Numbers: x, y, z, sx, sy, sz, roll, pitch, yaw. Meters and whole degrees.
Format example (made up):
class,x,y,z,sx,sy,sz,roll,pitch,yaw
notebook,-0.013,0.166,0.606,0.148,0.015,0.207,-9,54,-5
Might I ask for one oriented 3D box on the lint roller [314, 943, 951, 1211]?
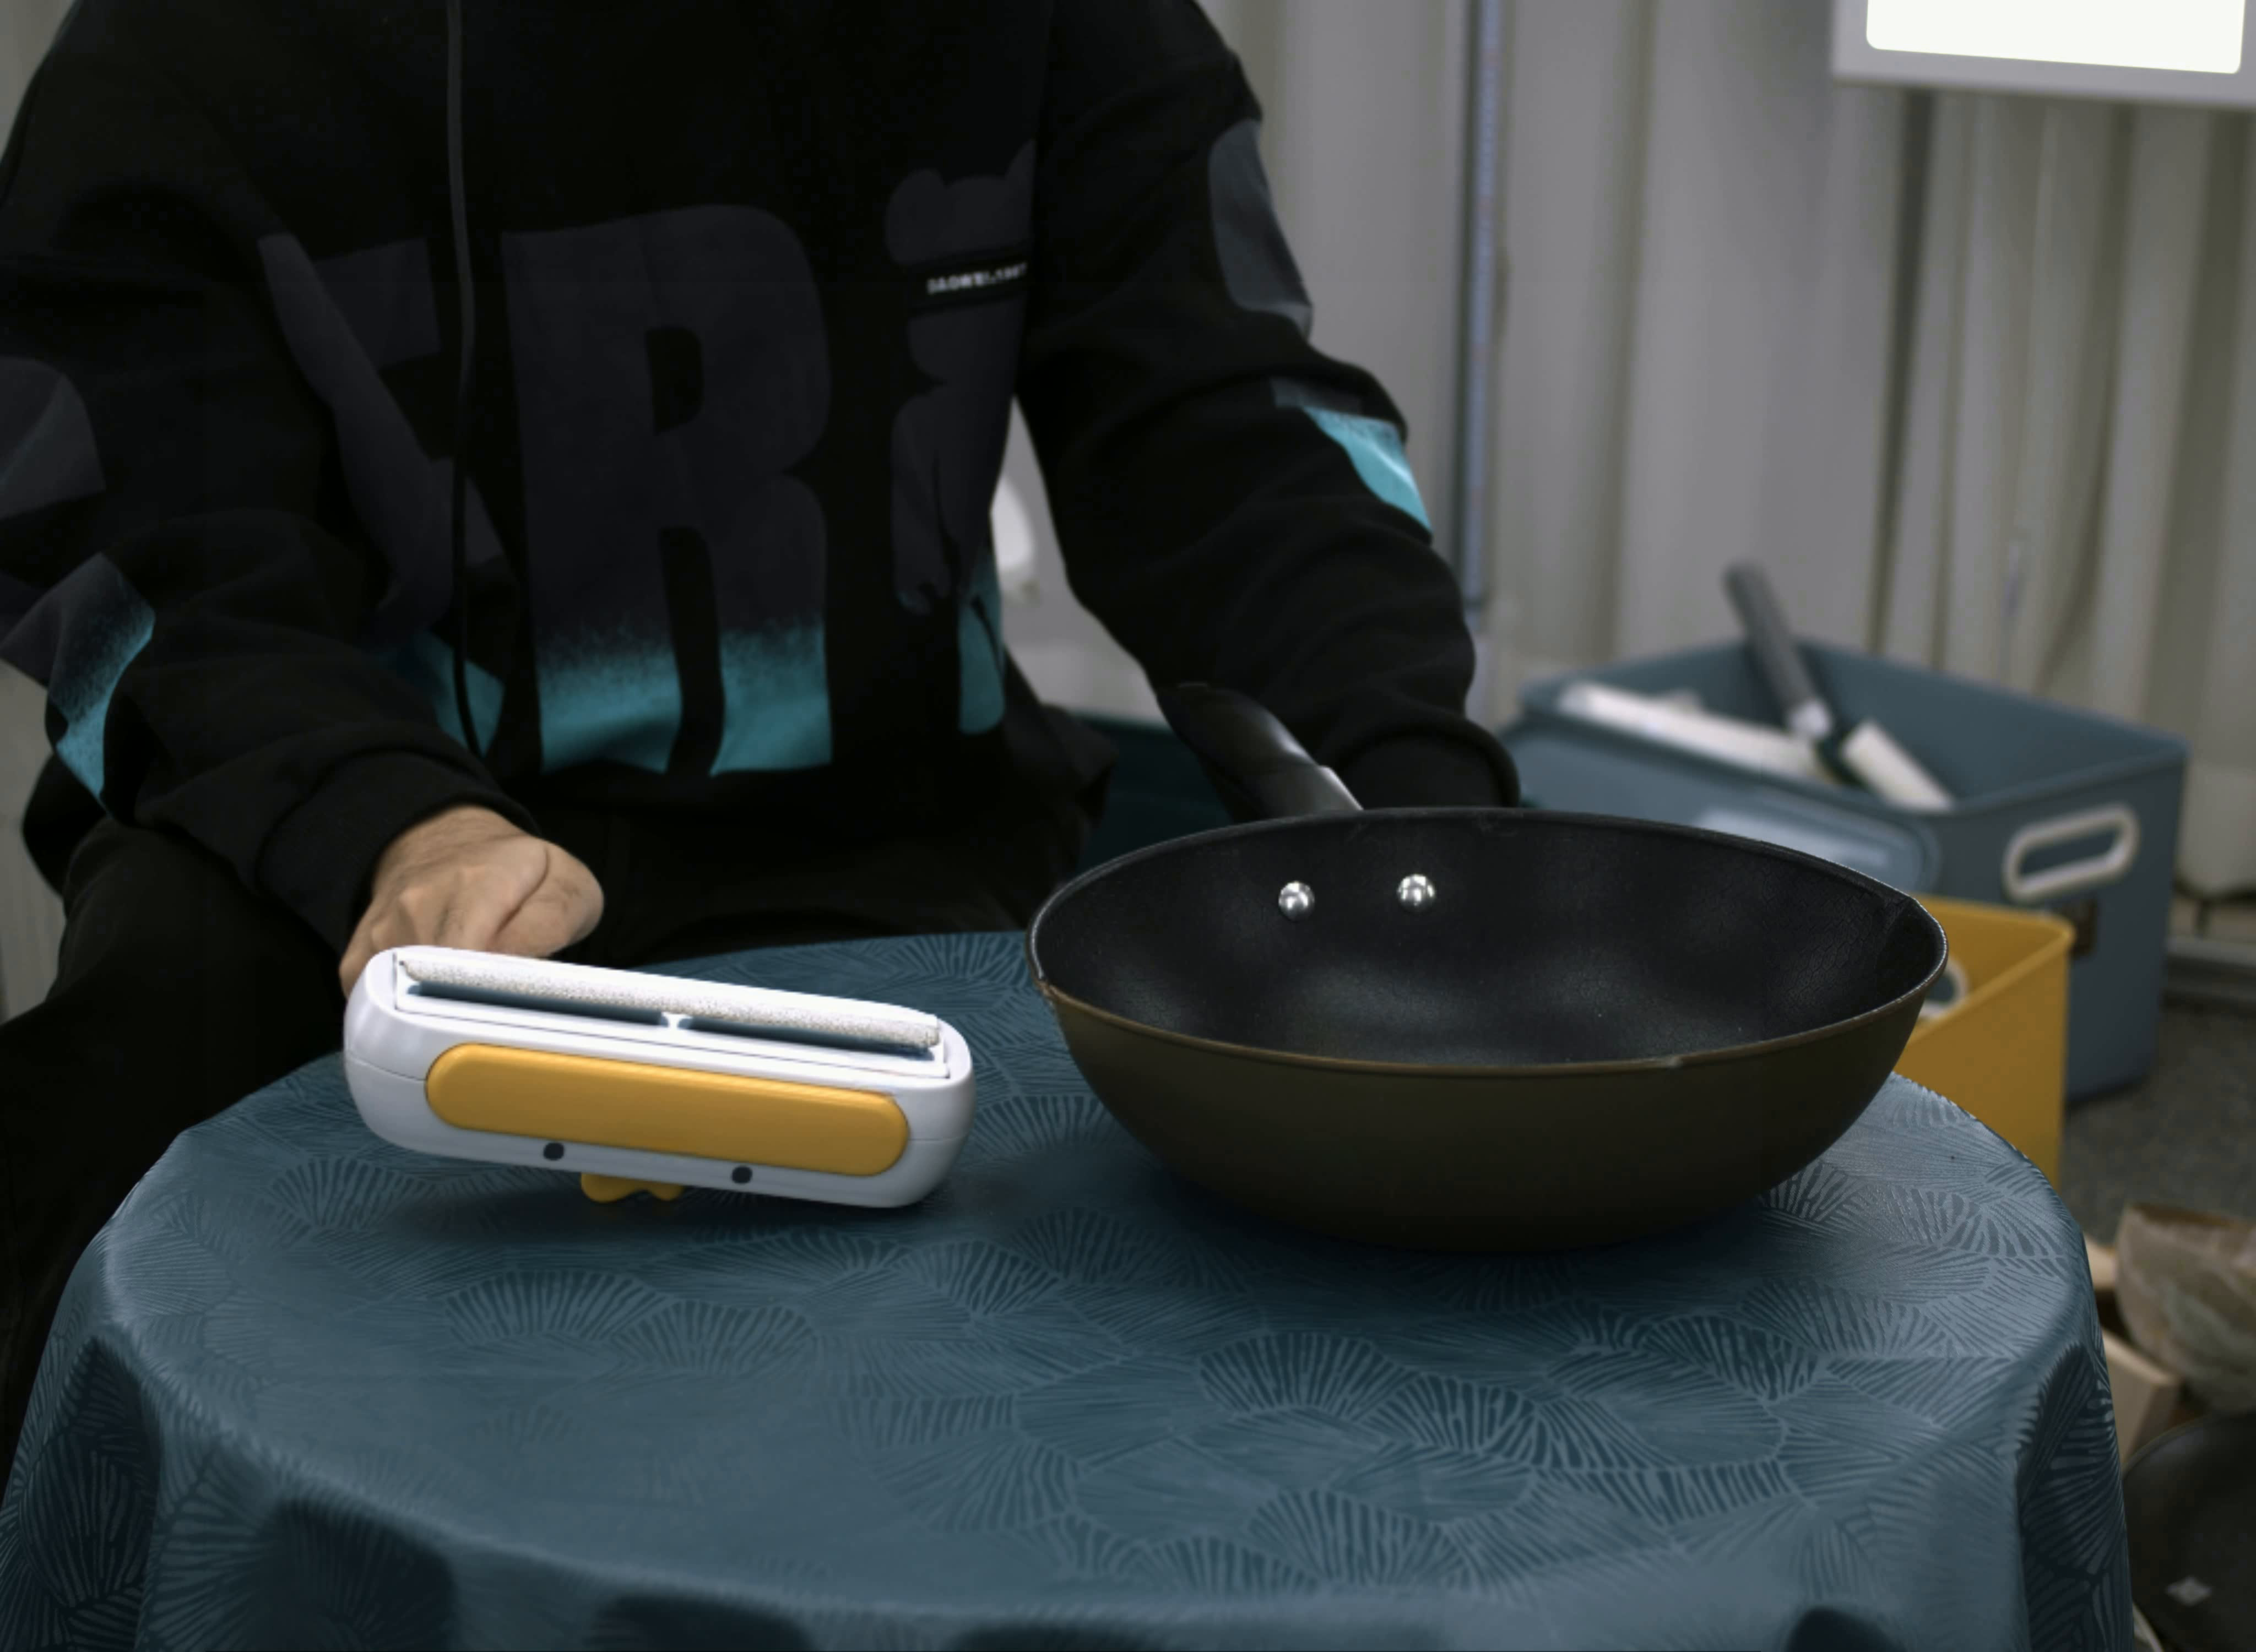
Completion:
class,x,y,z,sx,sy,sz,roll,pitch,yaw
lint roller,-0.155,0.068,1.648,0.193,0.075,0.191,4,13,-7

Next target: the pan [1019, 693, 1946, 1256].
class,x,y,z,sx,sy,sz,roll,pitch,yaw
pan,0.083,0.046,1.706,0.288,0.087,0.458,-4,16,-16
